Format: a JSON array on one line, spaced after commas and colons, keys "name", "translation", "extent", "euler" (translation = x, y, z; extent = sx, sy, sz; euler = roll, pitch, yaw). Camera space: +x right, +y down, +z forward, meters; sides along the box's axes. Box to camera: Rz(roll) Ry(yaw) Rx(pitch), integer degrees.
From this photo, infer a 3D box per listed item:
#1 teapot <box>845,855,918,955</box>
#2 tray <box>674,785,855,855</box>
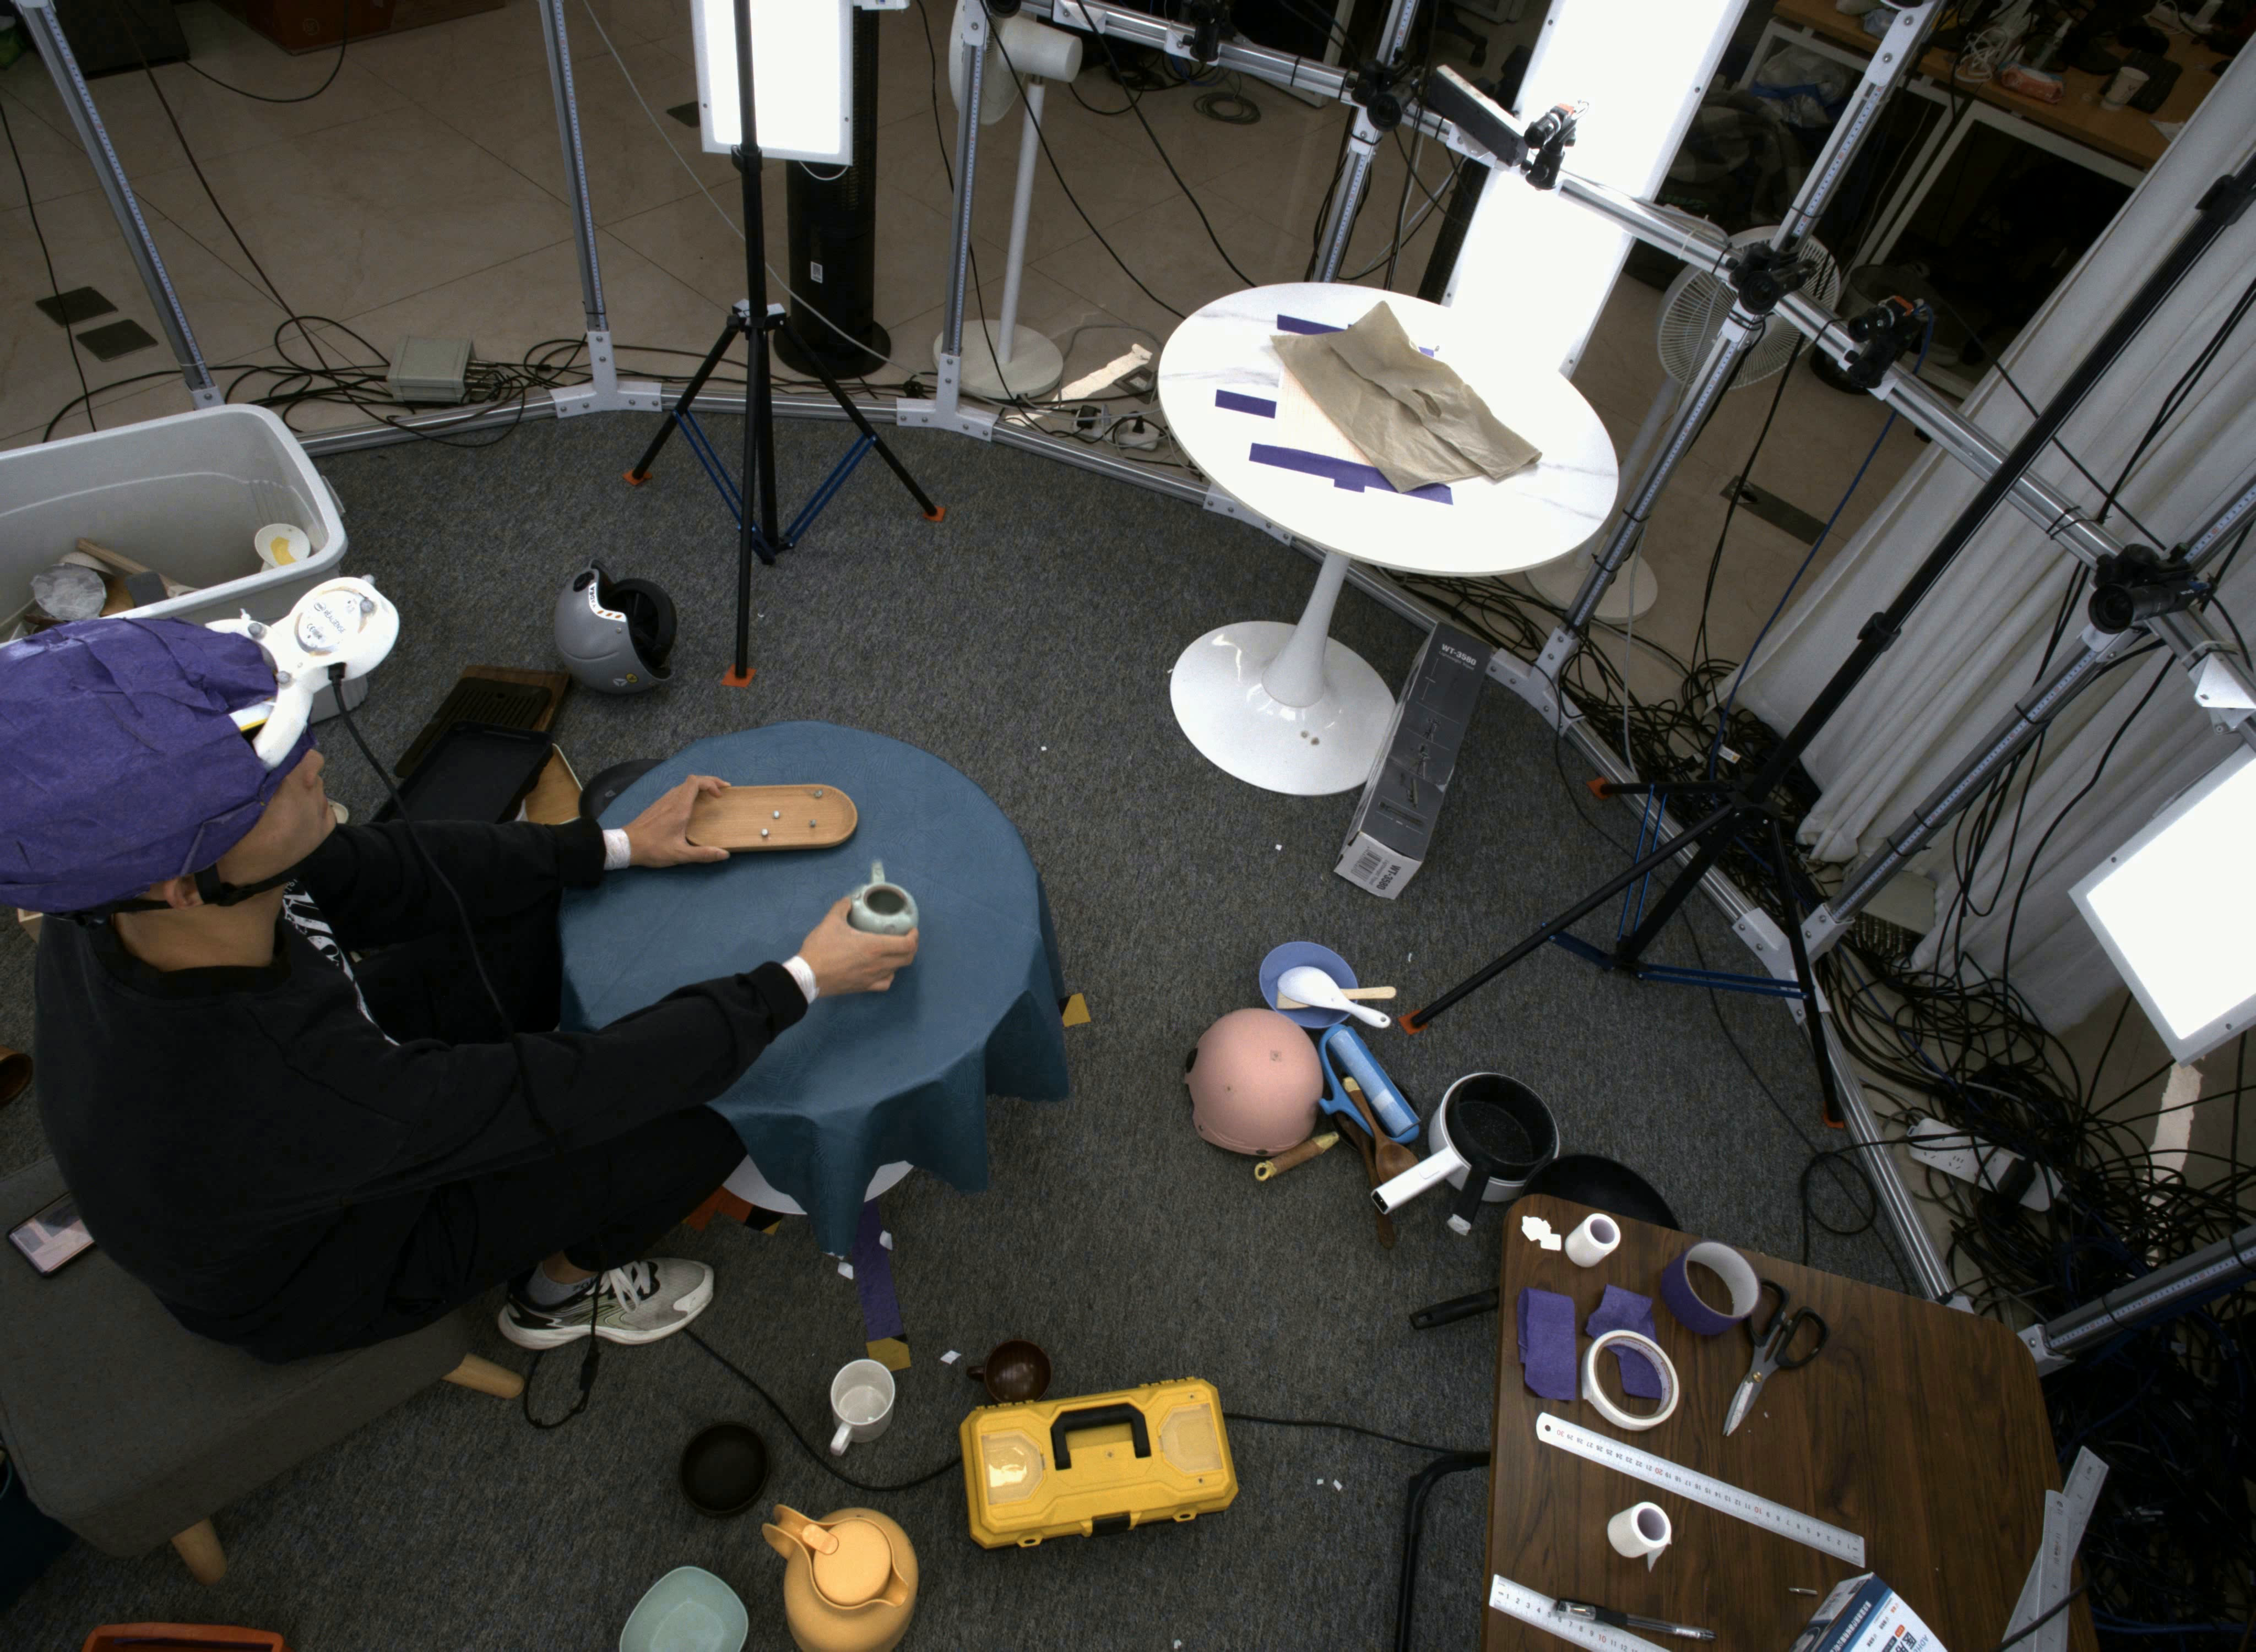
[{"name": "teapot", "translation": [-0.299, 0.105, 1.578], "extent": [0.089, 0.076, 0.139], "euler": [-1, 41, -22]}, {"name": "tray", "translation": [-0.474, -0.009, 1.691], "extent": [0.233, 0.021, 0.099], "euler": [-4, 53, -22]}]
